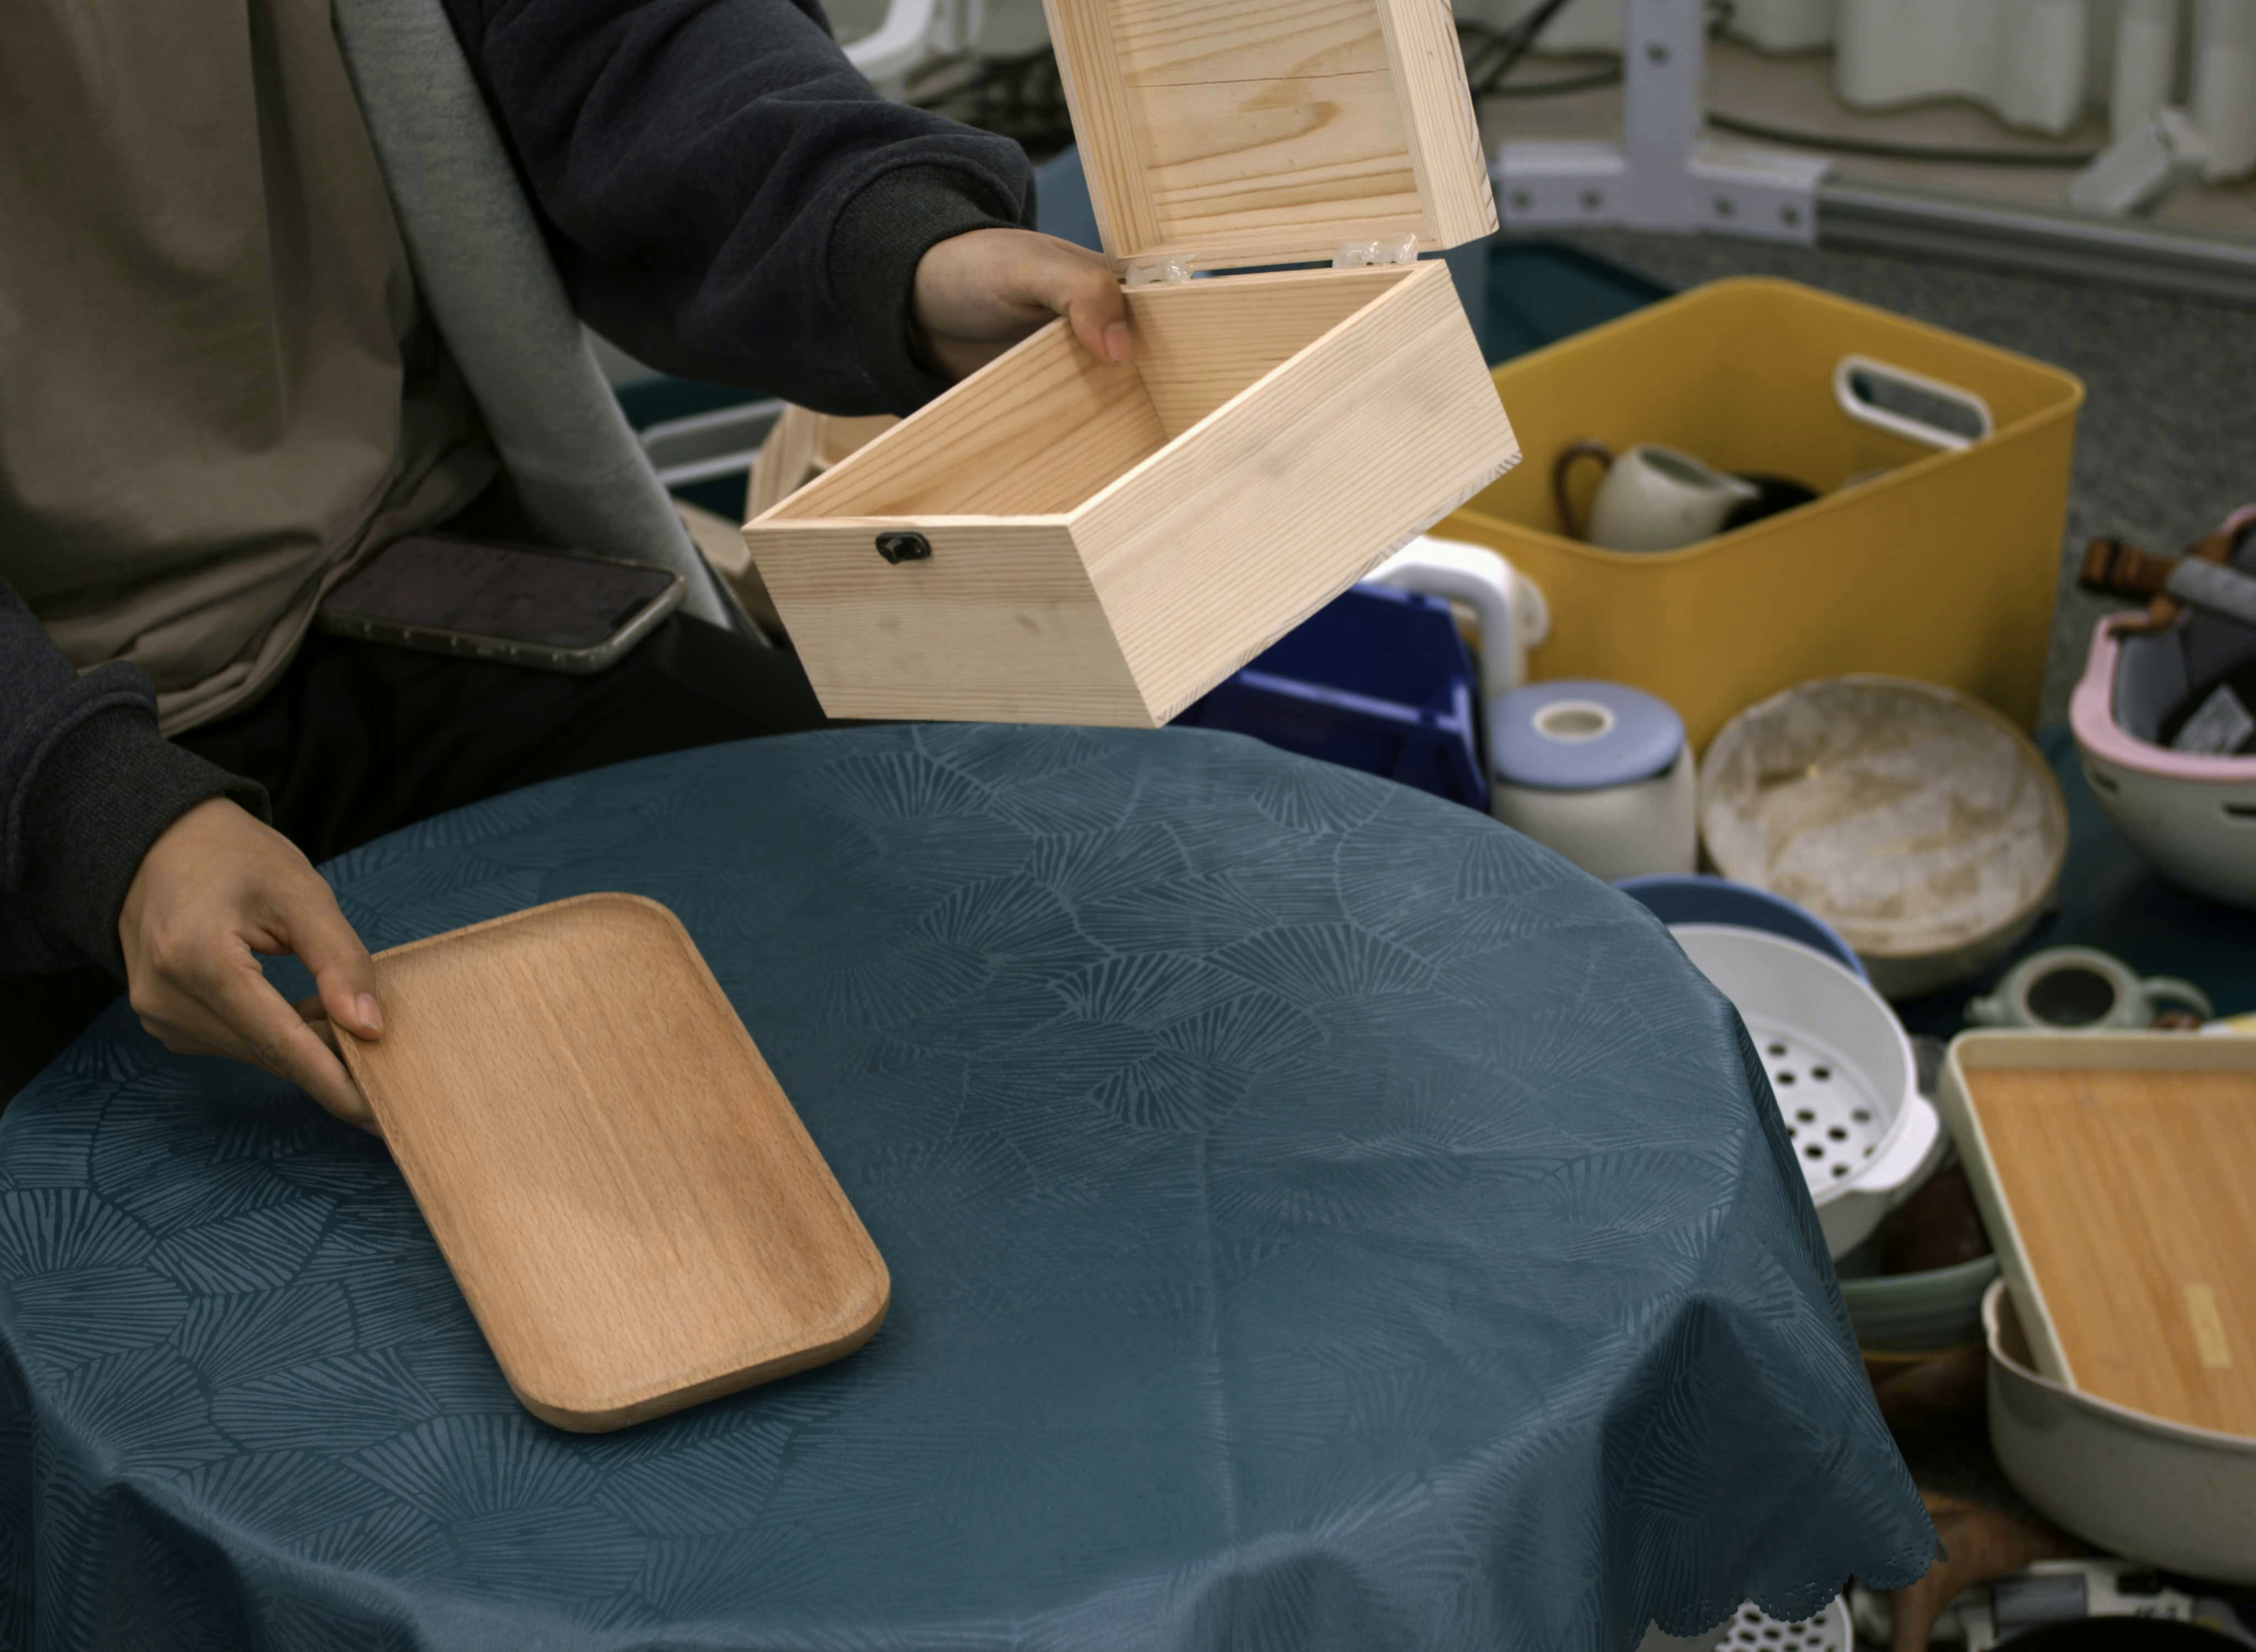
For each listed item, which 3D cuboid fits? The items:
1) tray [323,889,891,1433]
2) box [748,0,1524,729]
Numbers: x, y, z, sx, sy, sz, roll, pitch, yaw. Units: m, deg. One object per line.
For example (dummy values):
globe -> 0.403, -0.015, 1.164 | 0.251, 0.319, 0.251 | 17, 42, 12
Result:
tray -> -0.174, 0.107, 1.844 | 0.131, 0.022, 0.253 | -13, 38, -19
box -> -0.008, -0.203, 1.875 | 0.269, 0.252, 0.180 | -35, 19, -34
